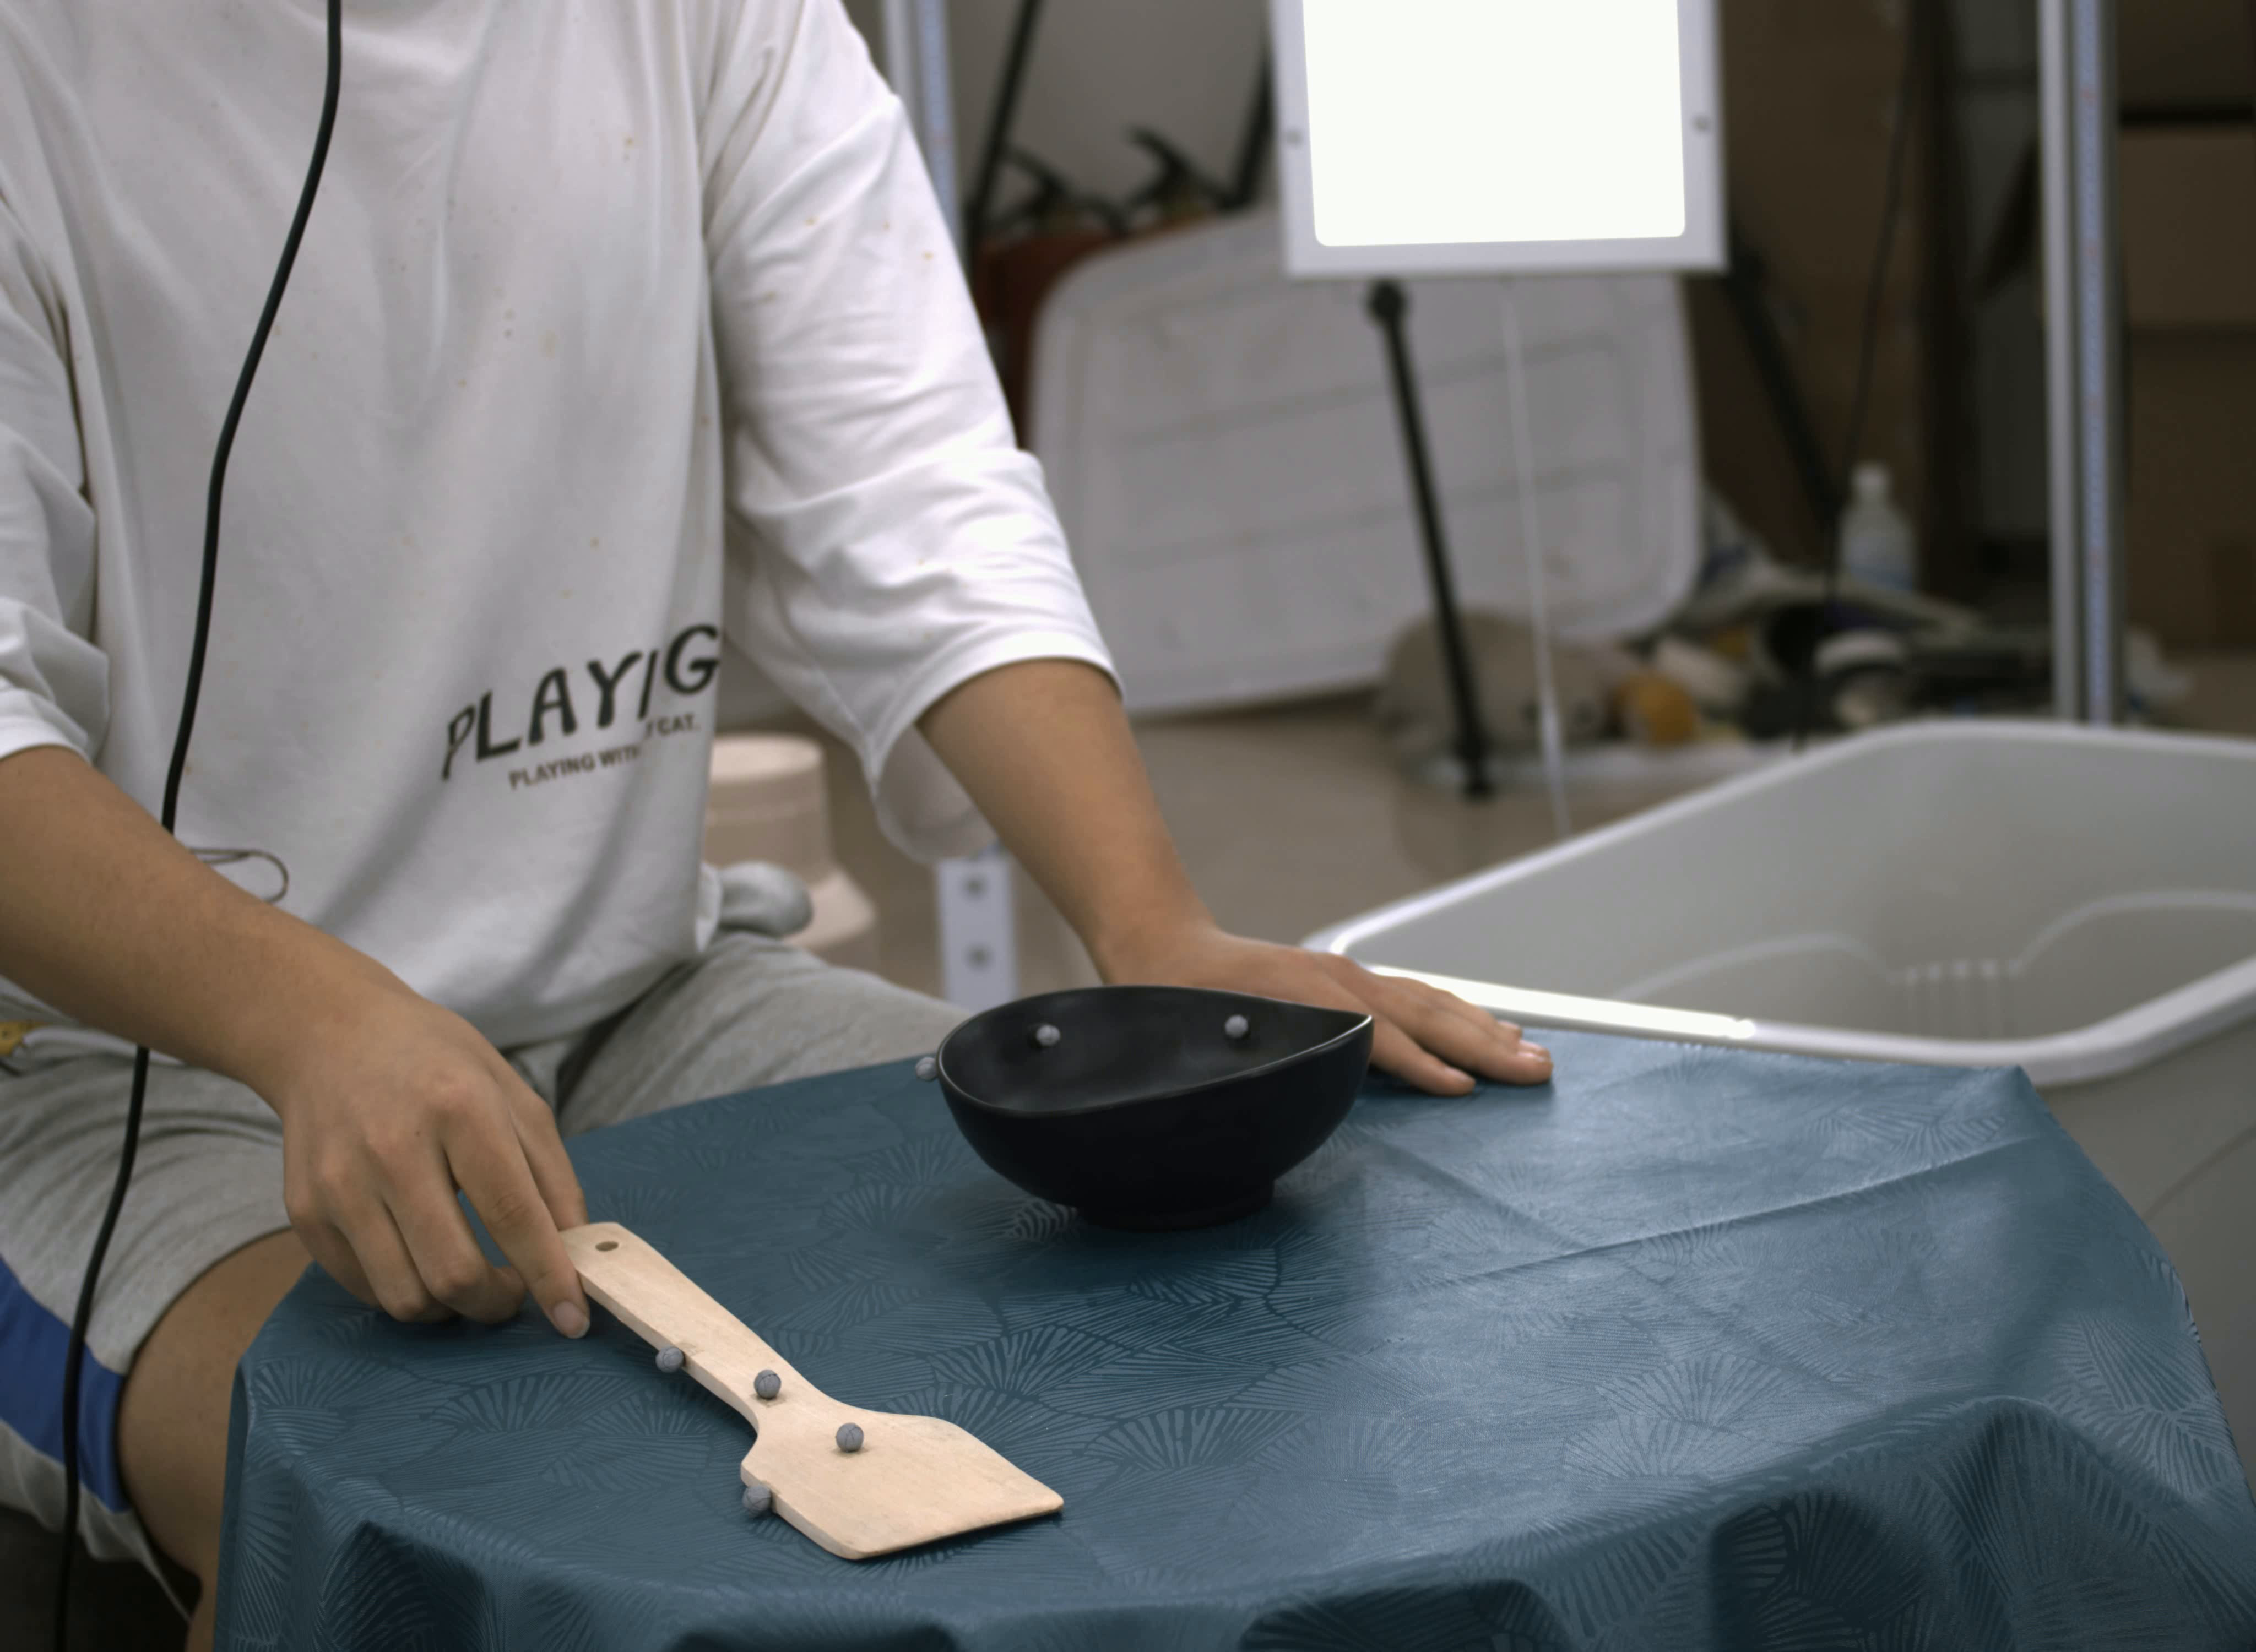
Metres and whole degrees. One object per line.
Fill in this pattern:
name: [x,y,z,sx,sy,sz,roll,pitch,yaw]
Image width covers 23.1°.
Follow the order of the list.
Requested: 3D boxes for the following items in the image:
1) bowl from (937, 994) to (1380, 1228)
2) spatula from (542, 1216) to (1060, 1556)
bowl: [0.013,0.098,1.877,0.140,0.067,0.166,6,15,40]
spatula: [-0.117,0.170,1.713,0.071,0.011,0.298,-12,19,-25]
